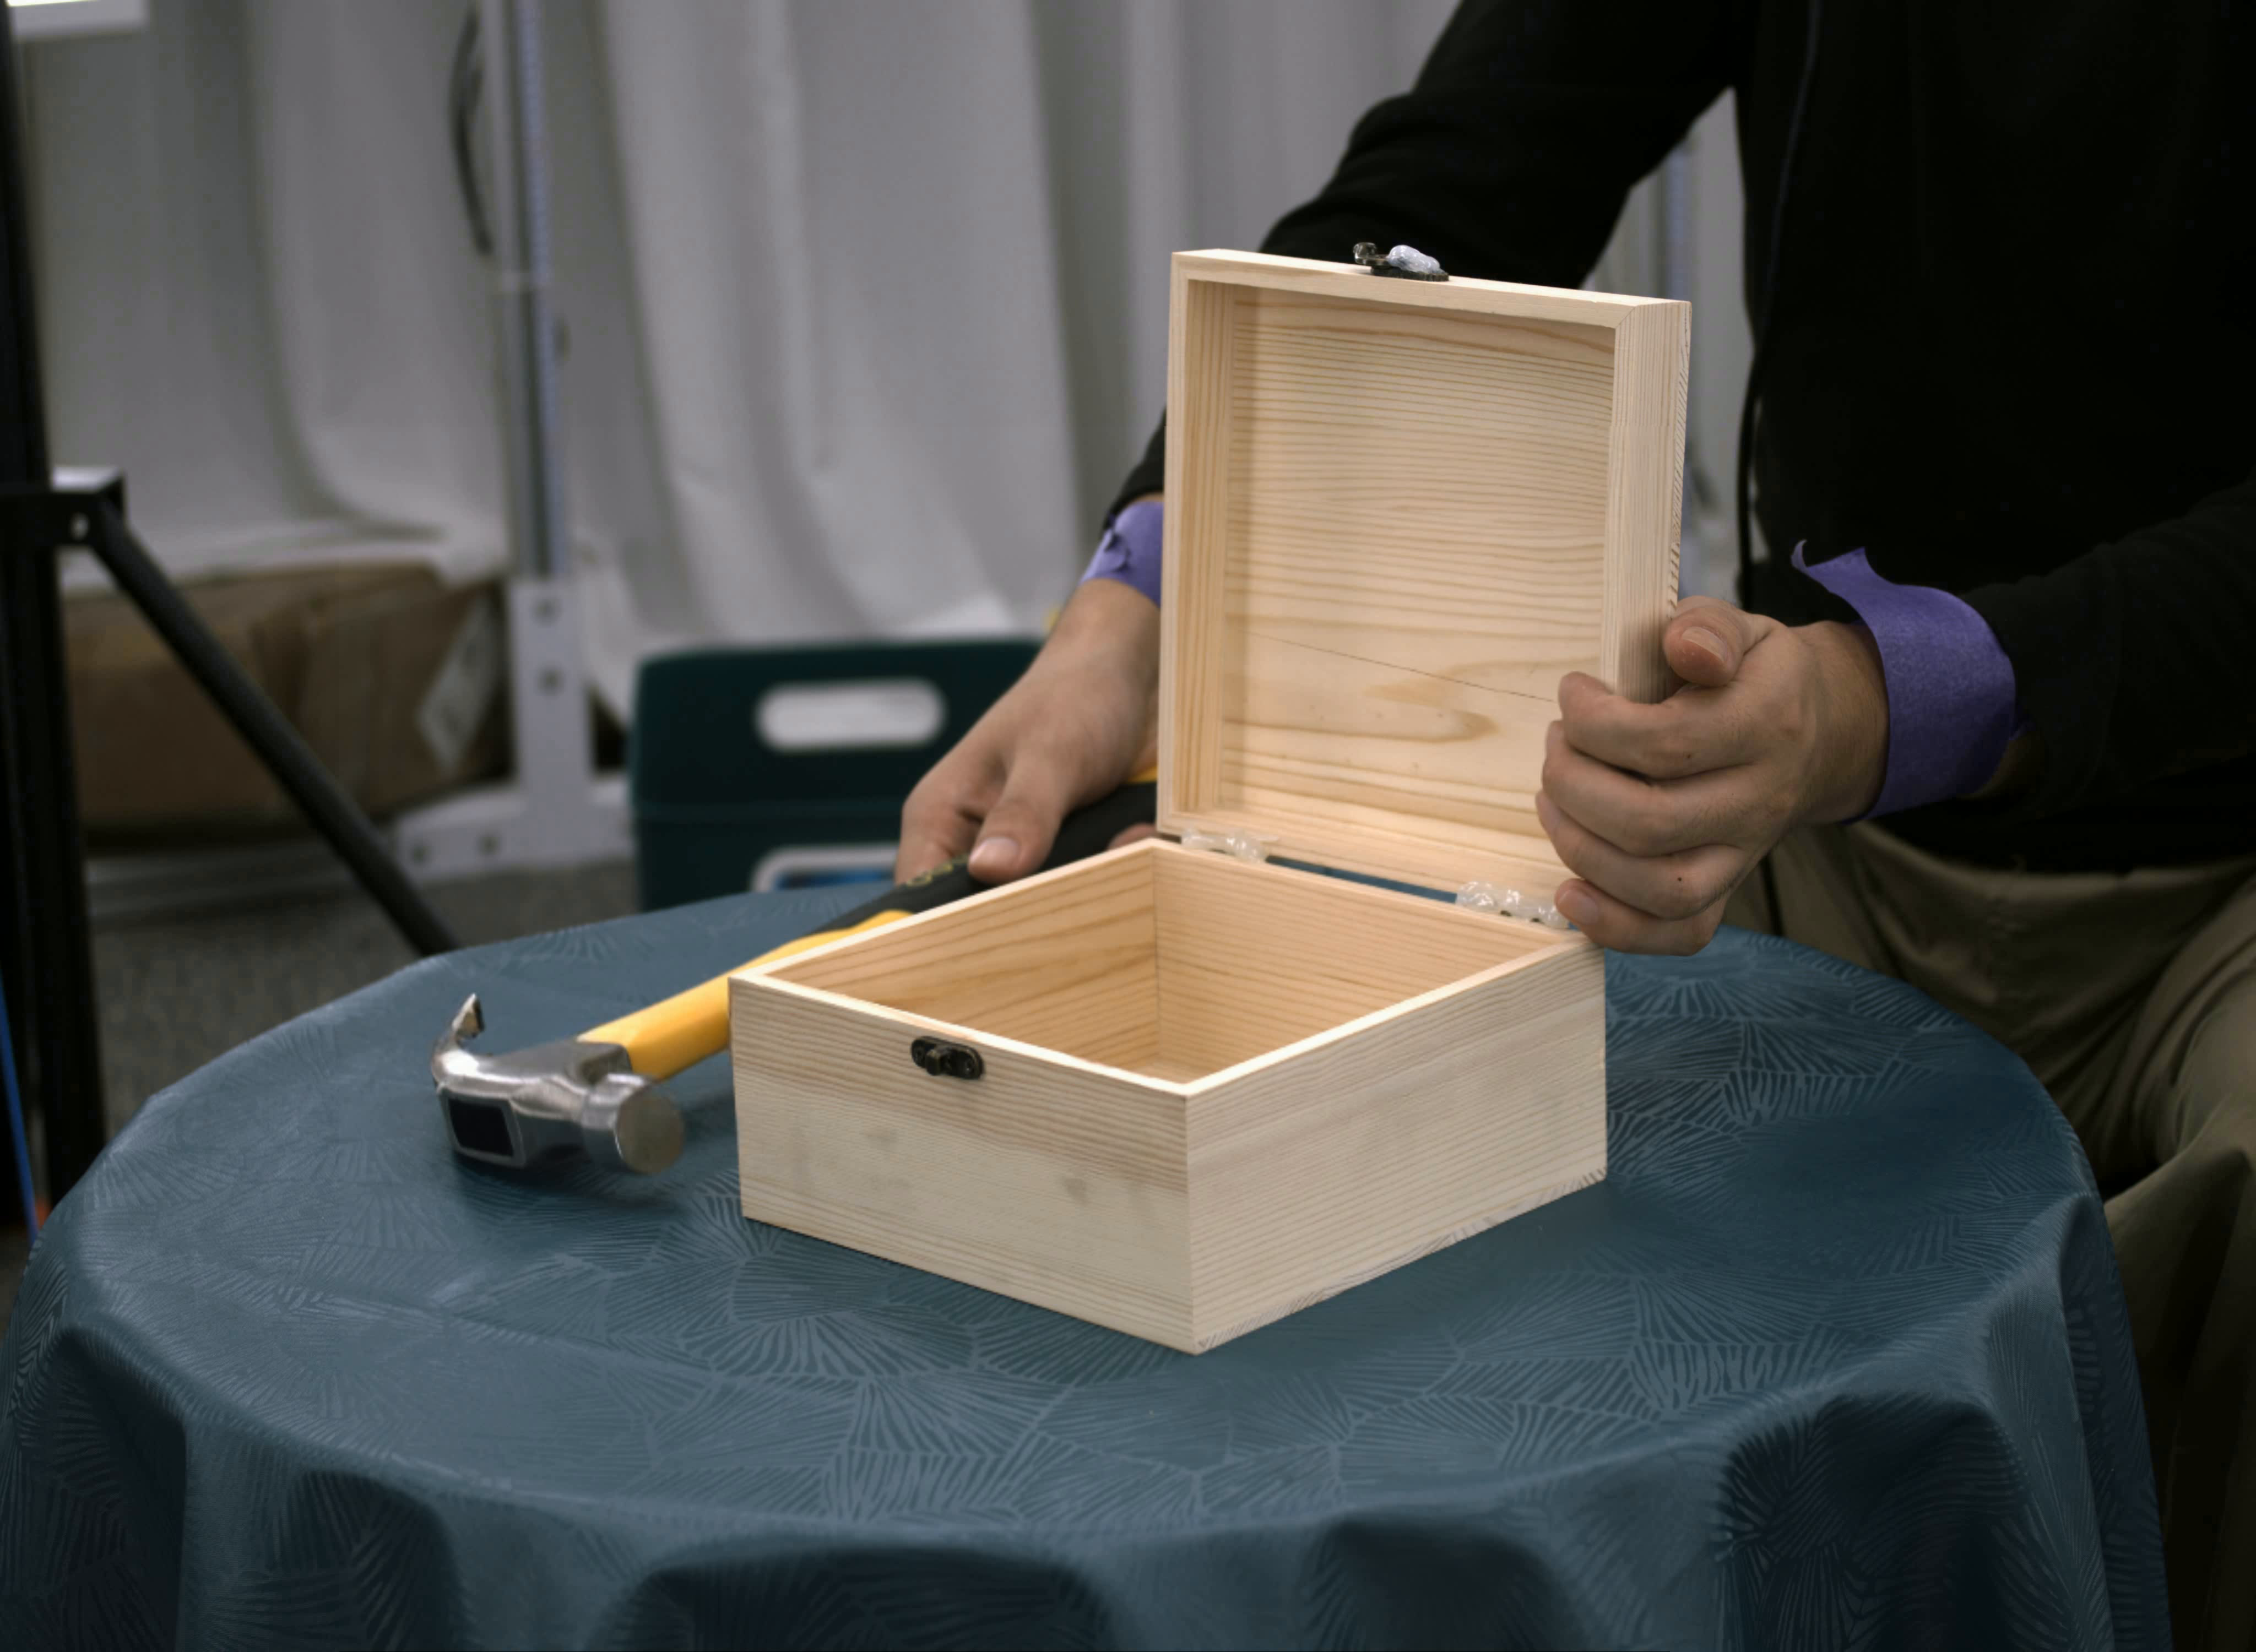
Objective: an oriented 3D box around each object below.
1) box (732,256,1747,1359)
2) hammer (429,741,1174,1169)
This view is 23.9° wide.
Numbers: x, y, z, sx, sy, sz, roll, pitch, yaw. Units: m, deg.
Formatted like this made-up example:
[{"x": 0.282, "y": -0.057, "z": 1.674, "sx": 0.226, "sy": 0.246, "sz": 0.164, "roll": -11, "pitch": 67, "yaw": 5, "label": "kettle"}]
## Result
[{"x": 0.032, "y": -0.018, "z": 1.539, "sx": 0.186, "sy": 0.253, "sz": 0.259, "roll": 9, "pitch": 19, "yaw": 43, "label": "box"}, {"x": -0.080, "y": 0.032, "z": 1.695, "sx": 0.332, "sy": 0.032, "sz": 0.134, "roll": -26, "pitch": 19, "yaw": -40, "label": "hammer"}]
